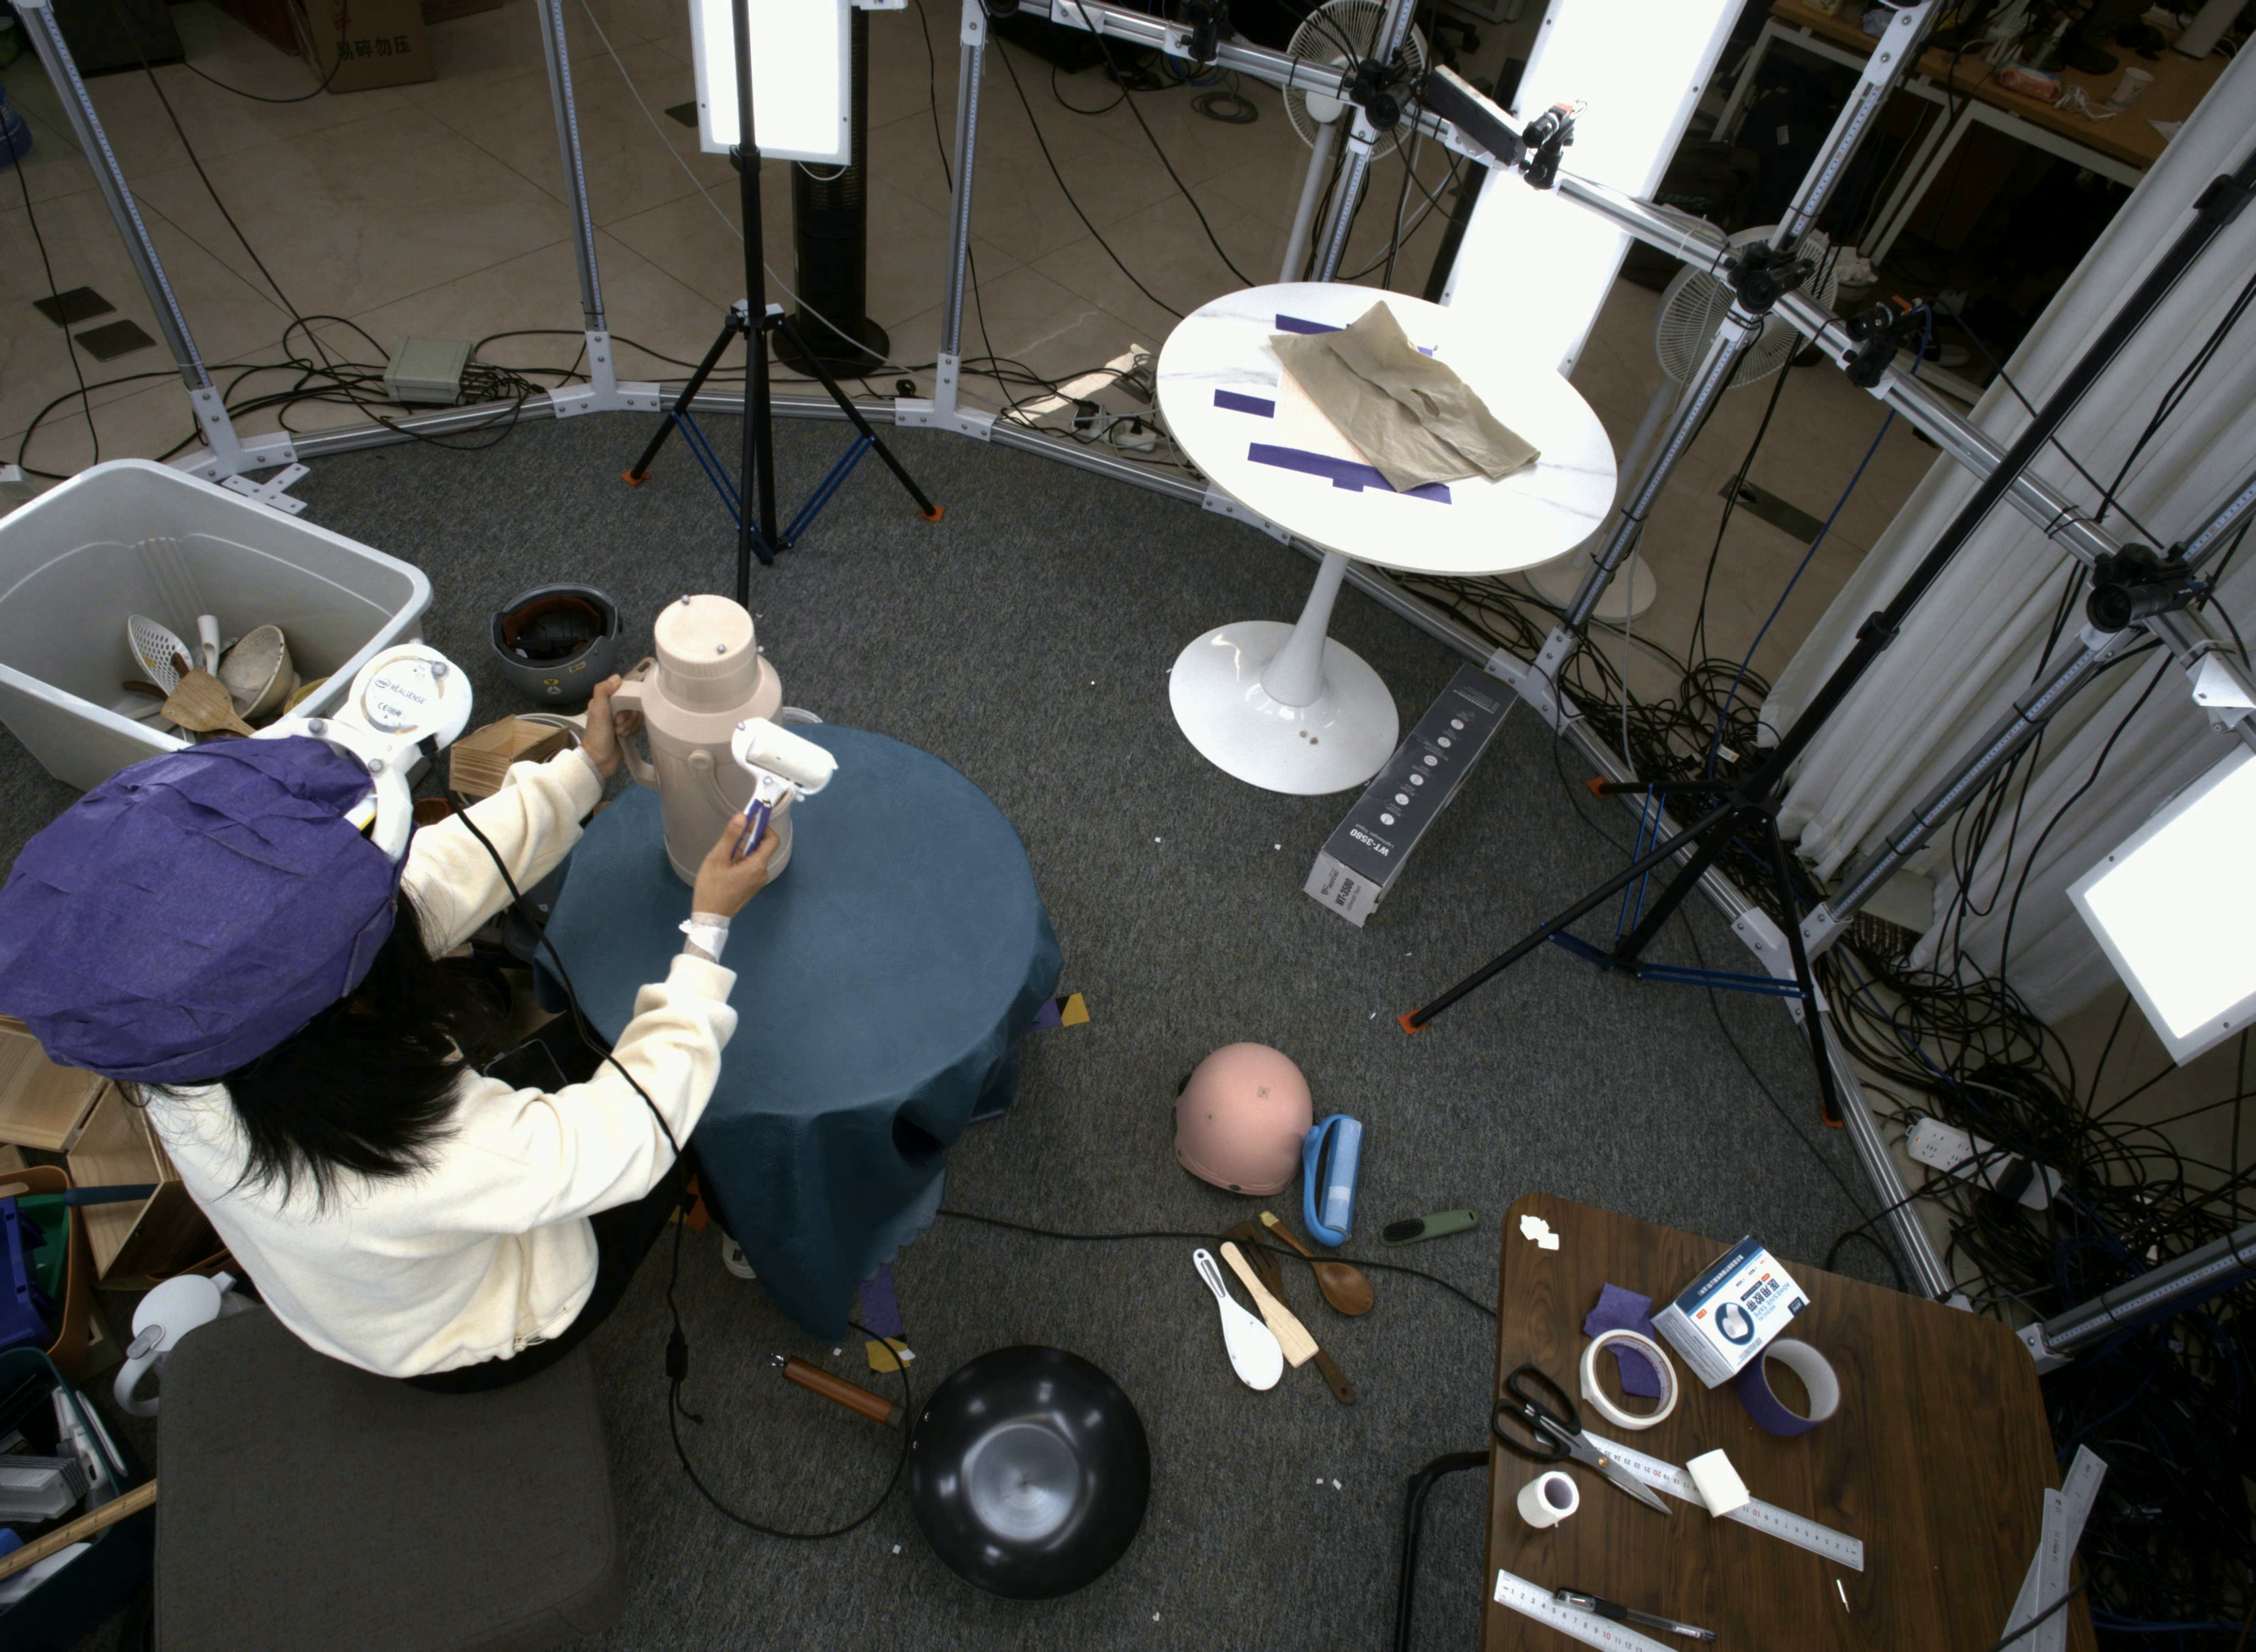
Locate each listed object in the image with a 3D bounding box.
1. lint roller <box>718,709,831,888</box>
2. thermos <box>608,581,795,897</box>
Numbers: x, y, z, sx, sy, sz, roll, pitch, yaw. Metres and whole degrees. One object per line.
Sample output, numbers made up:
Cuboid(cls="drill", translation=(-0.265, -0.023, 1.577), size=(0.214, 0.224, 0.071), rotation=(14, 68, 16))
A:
Cuboid(cls="lint roller", translation=(-0.387, -0.022, 1.364), size=(0.048, 0.137, 0.181), rotation=(9, 77, 31))
Cuboid(cls="thermos", translation=(-0.500, -0.100, 1.516), size=(0.207, 0.415, 0.172), rotation=(2, 52, -9))
